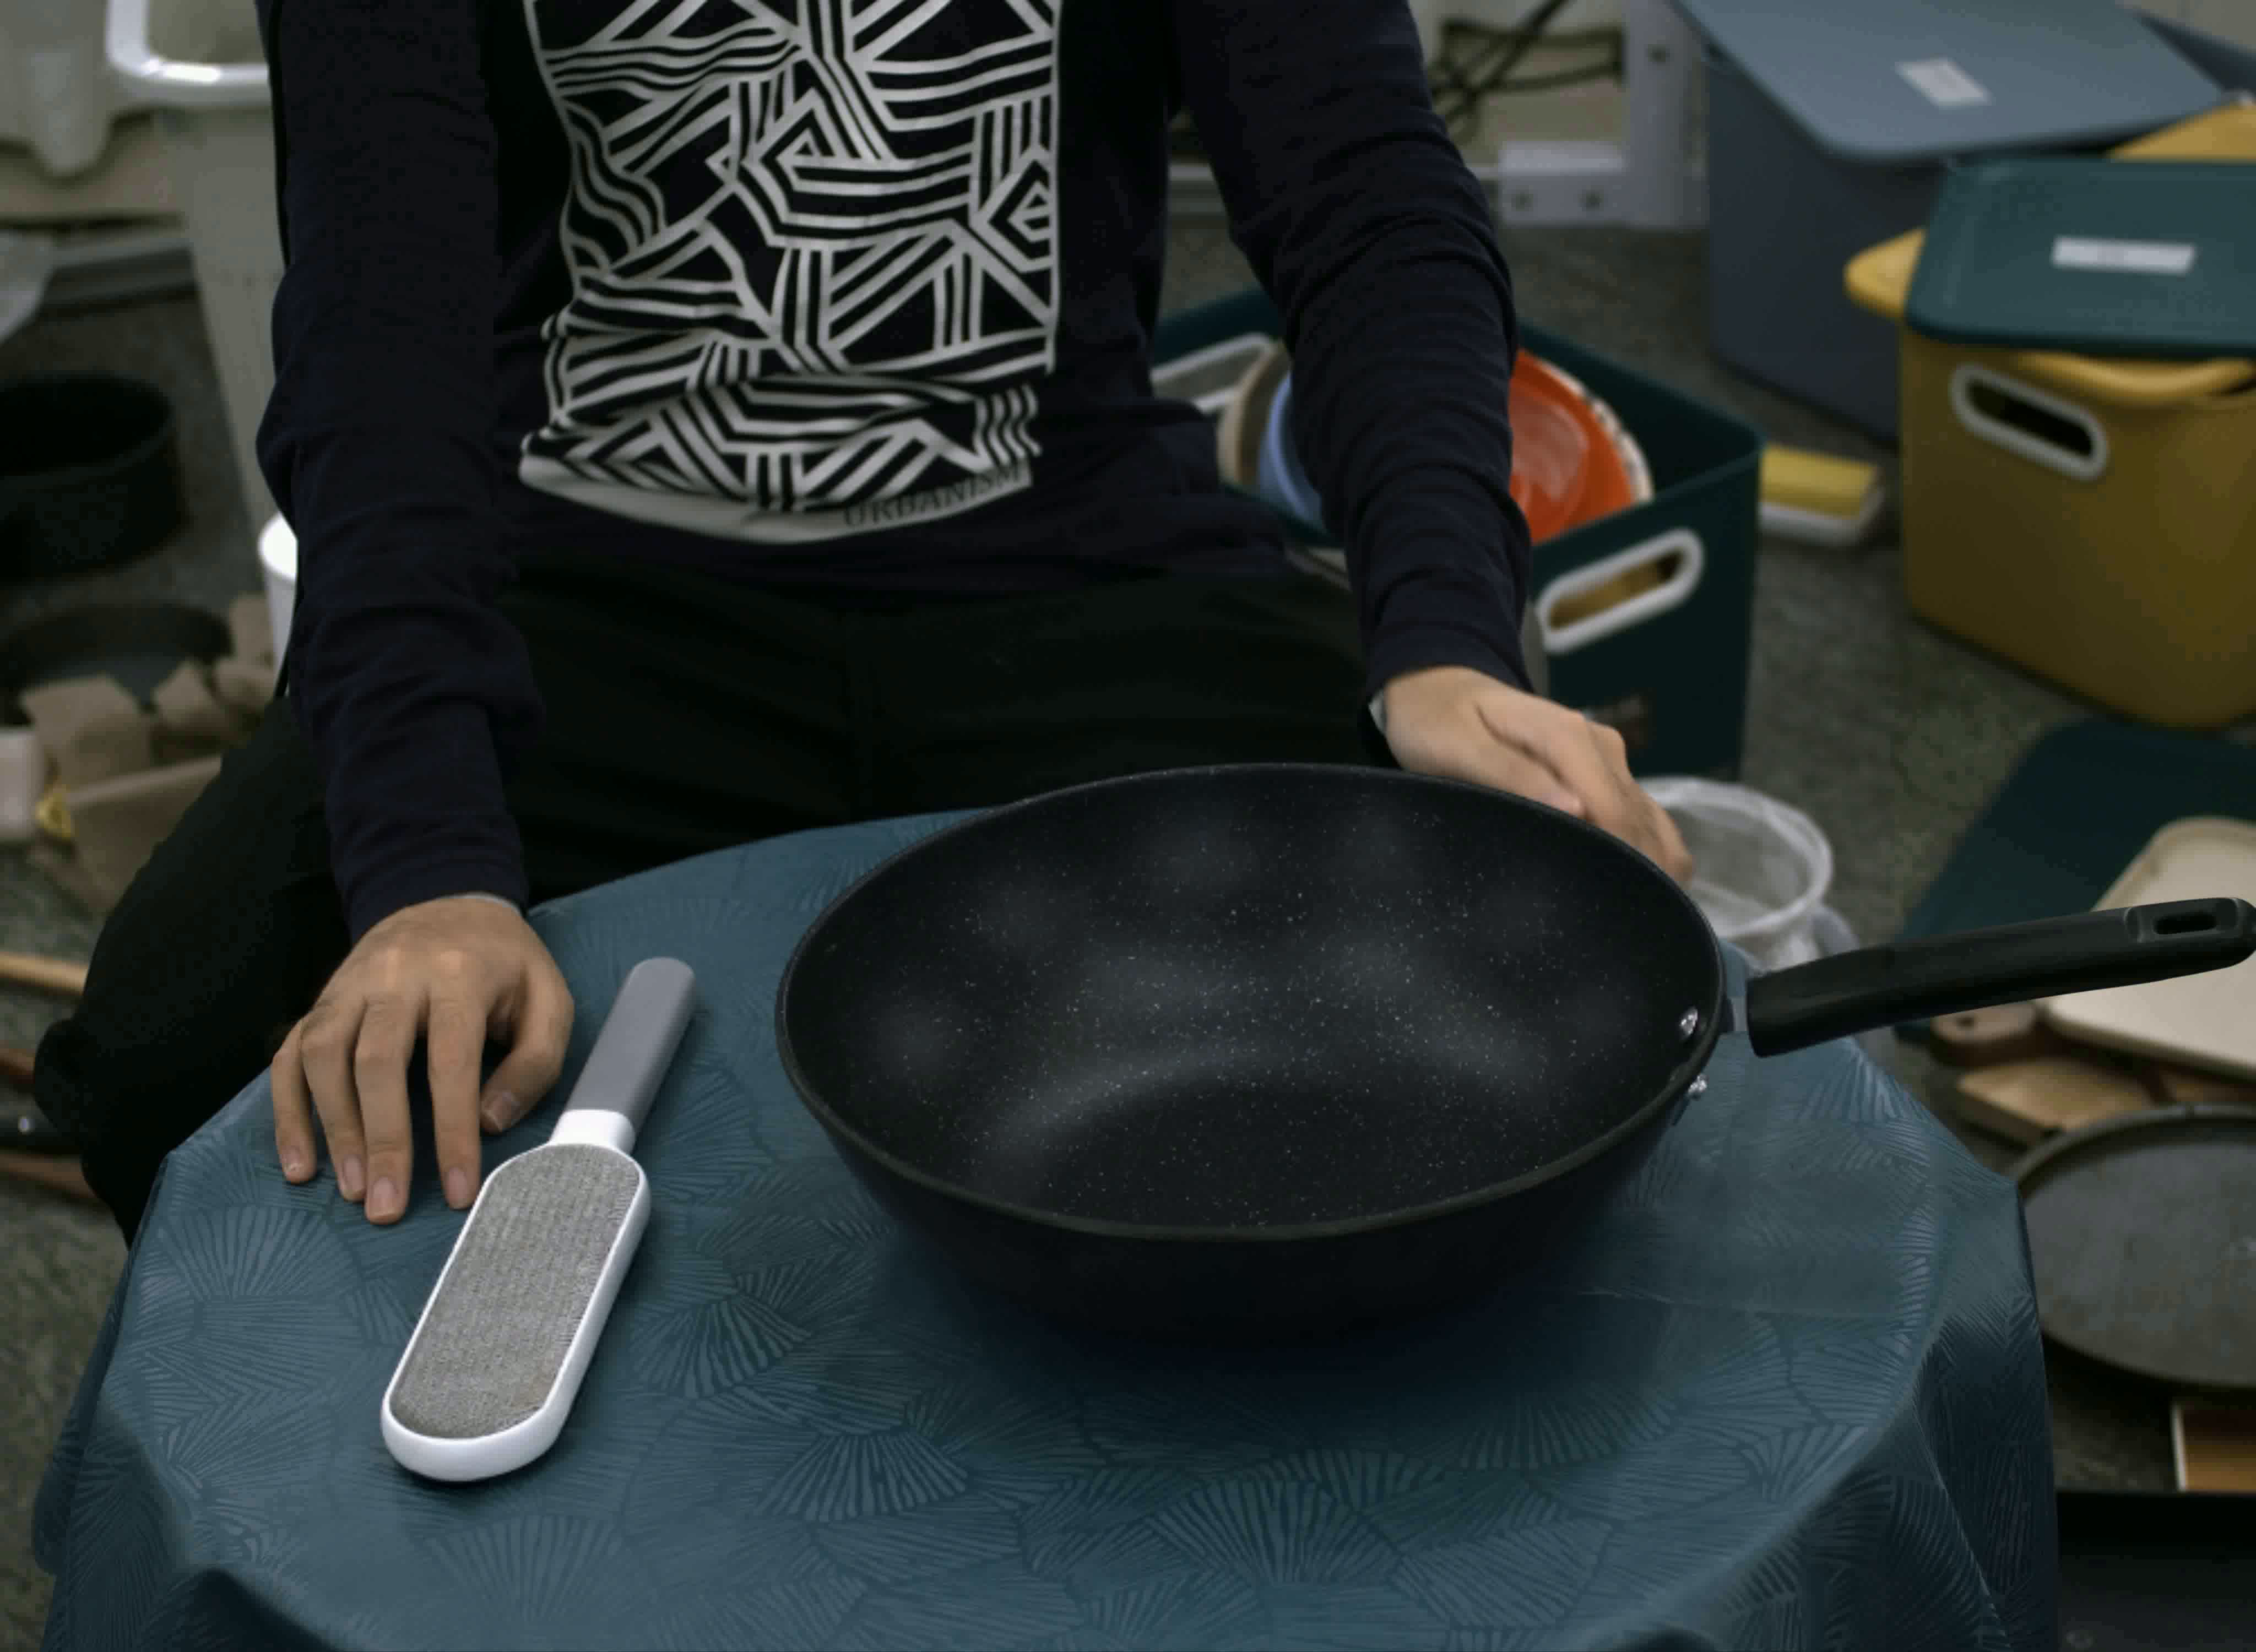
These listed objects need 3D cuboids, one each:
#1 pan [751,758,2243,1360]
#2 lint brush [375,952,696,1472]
[{"bbox_3d":[0.116,0.078,1.820,0.474,0.110,0.315,0,29,6],"label":"pan"},{"bbox_3d":[-0.185,0.122,1.849,0.059,0.021,0.314,-4,27,11],"label":"lint brush"}]
